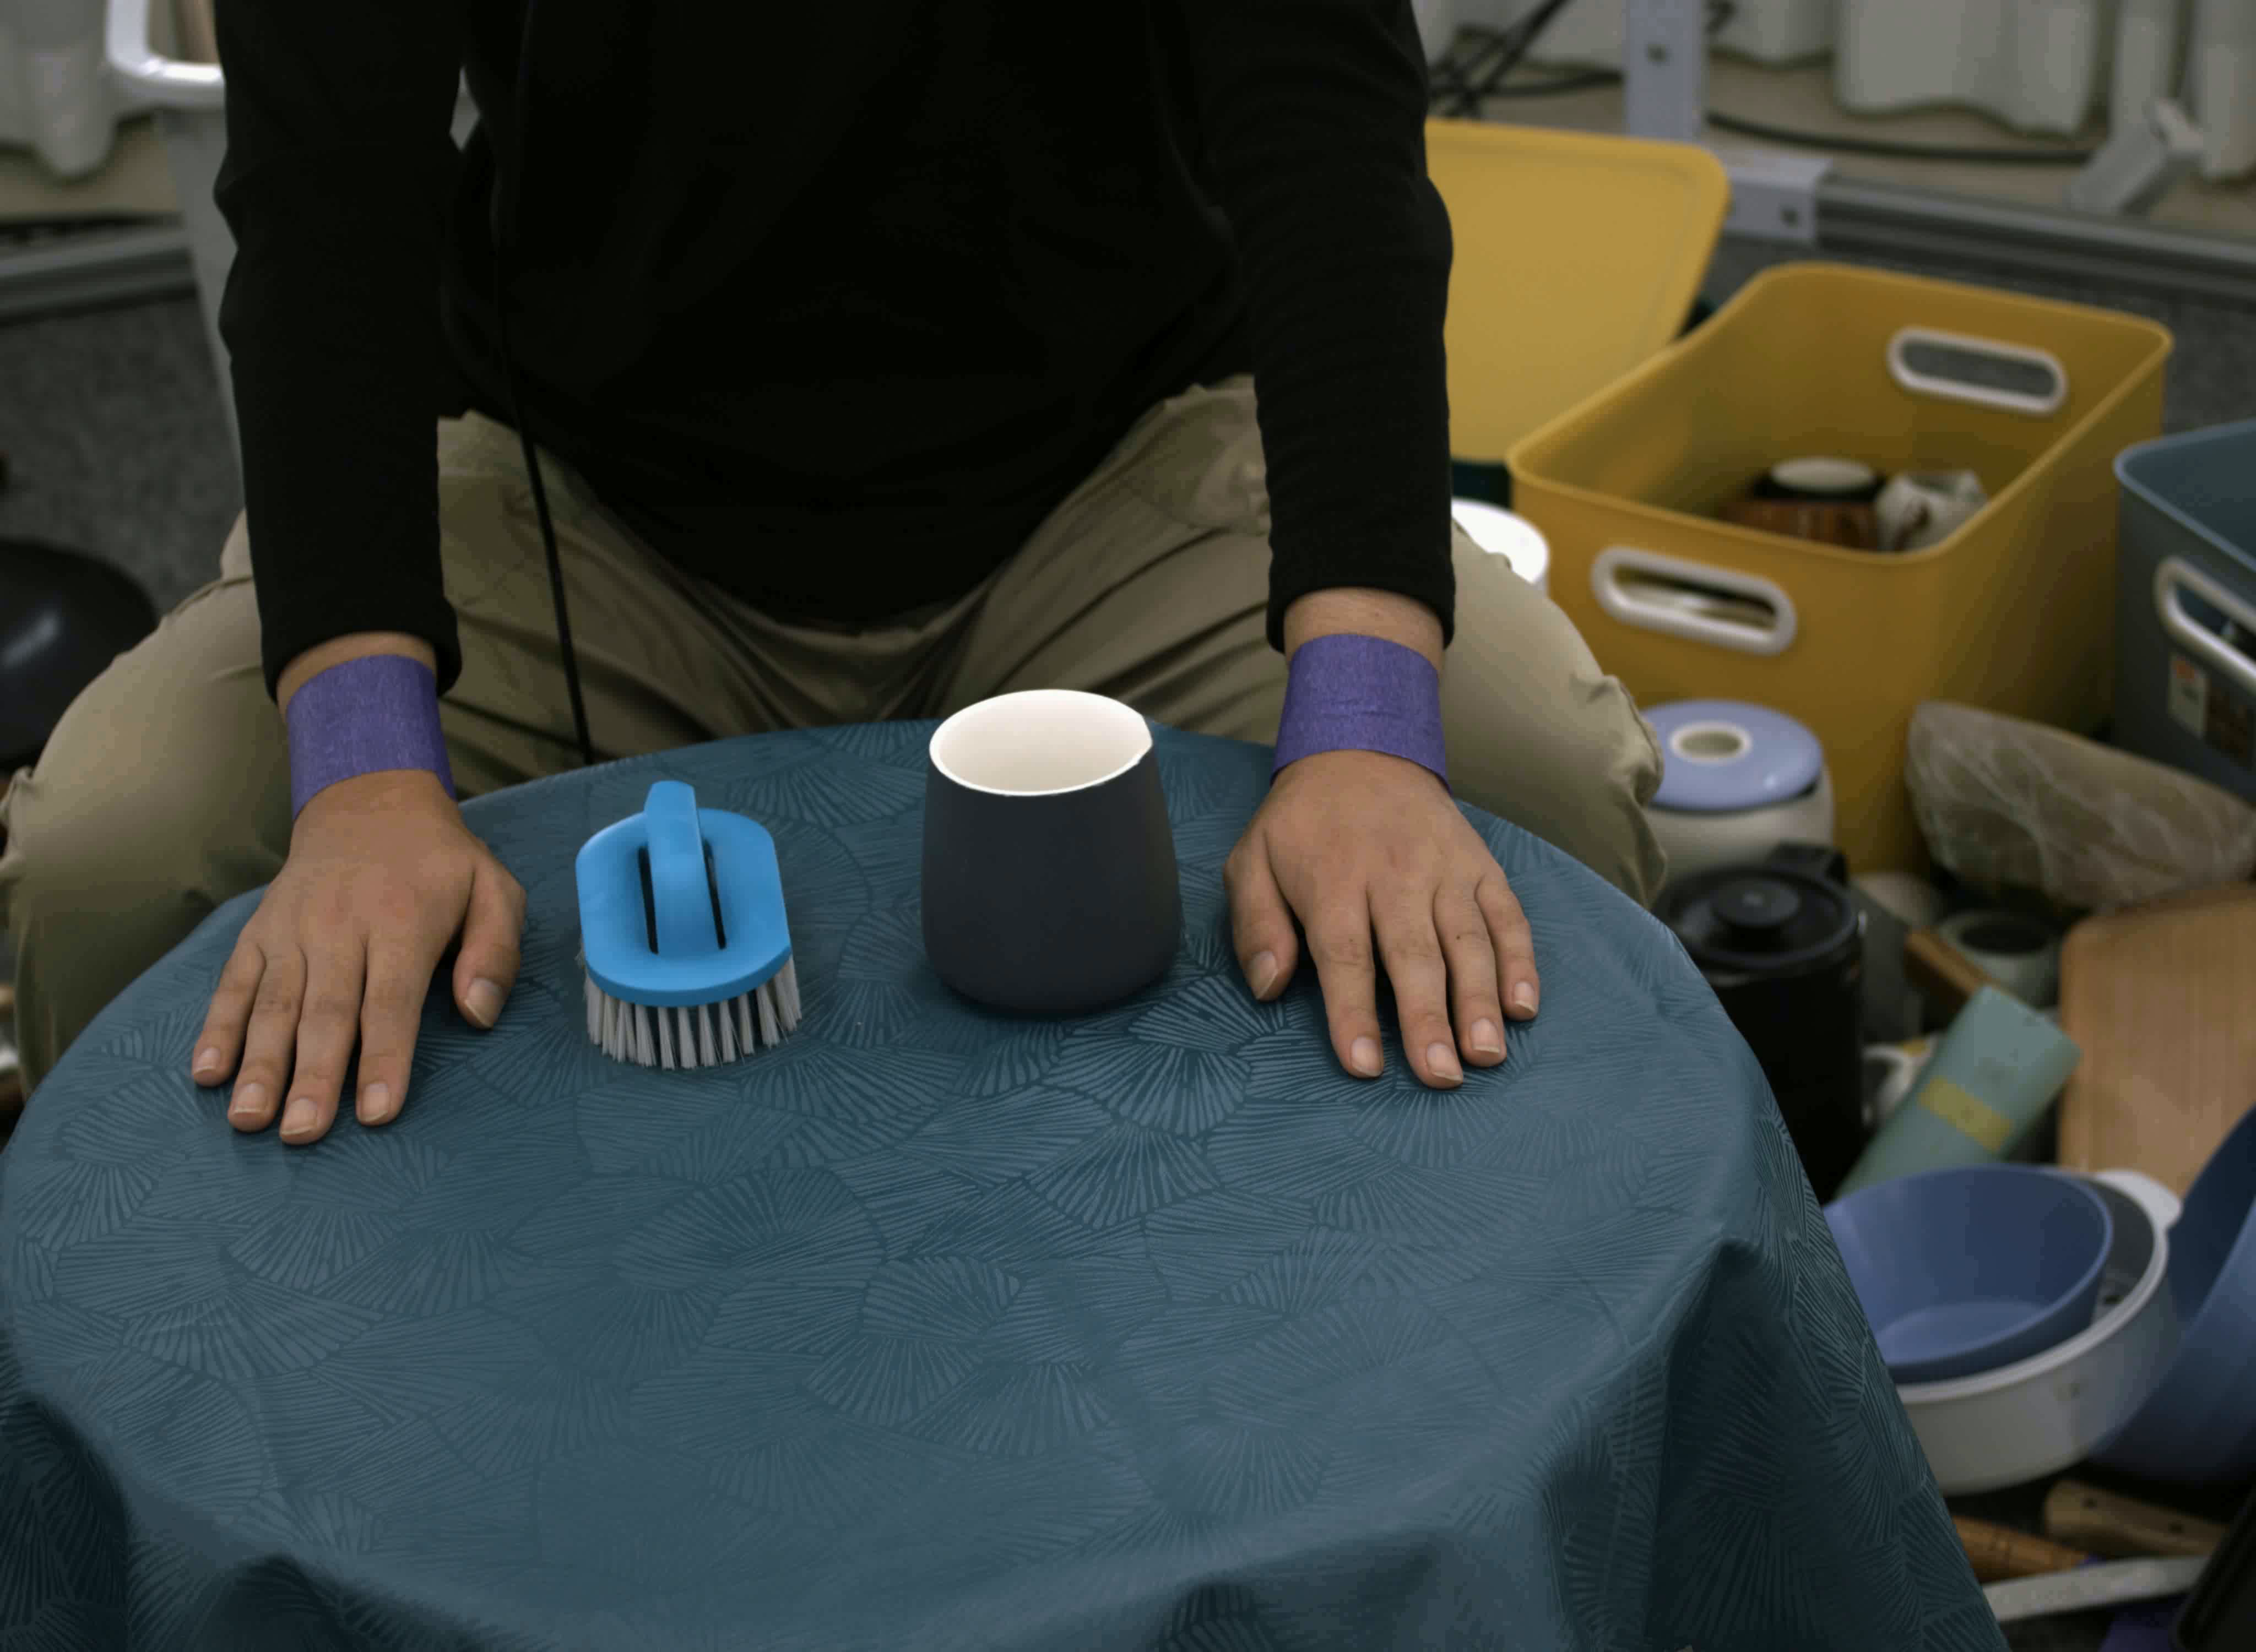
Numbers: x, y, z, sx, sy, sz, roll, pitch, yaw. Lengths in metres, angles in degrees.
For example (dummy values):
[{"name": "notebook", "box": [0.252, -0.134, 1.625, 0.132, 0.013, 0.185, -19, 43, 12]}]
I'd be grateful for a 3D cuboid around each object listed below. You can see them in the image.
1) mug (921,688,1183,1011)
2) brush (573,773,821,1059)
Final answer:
[{"name": "mug", "box": [-0.028, 0.001, 1.996, 0.093, 0.089, 0.125, -2, 28, 1]}, {"name": "brush", "box": [-0.157, 0.024, 1.995, 0.084, 0.063, 0.143, -9, 26, -3]}]
